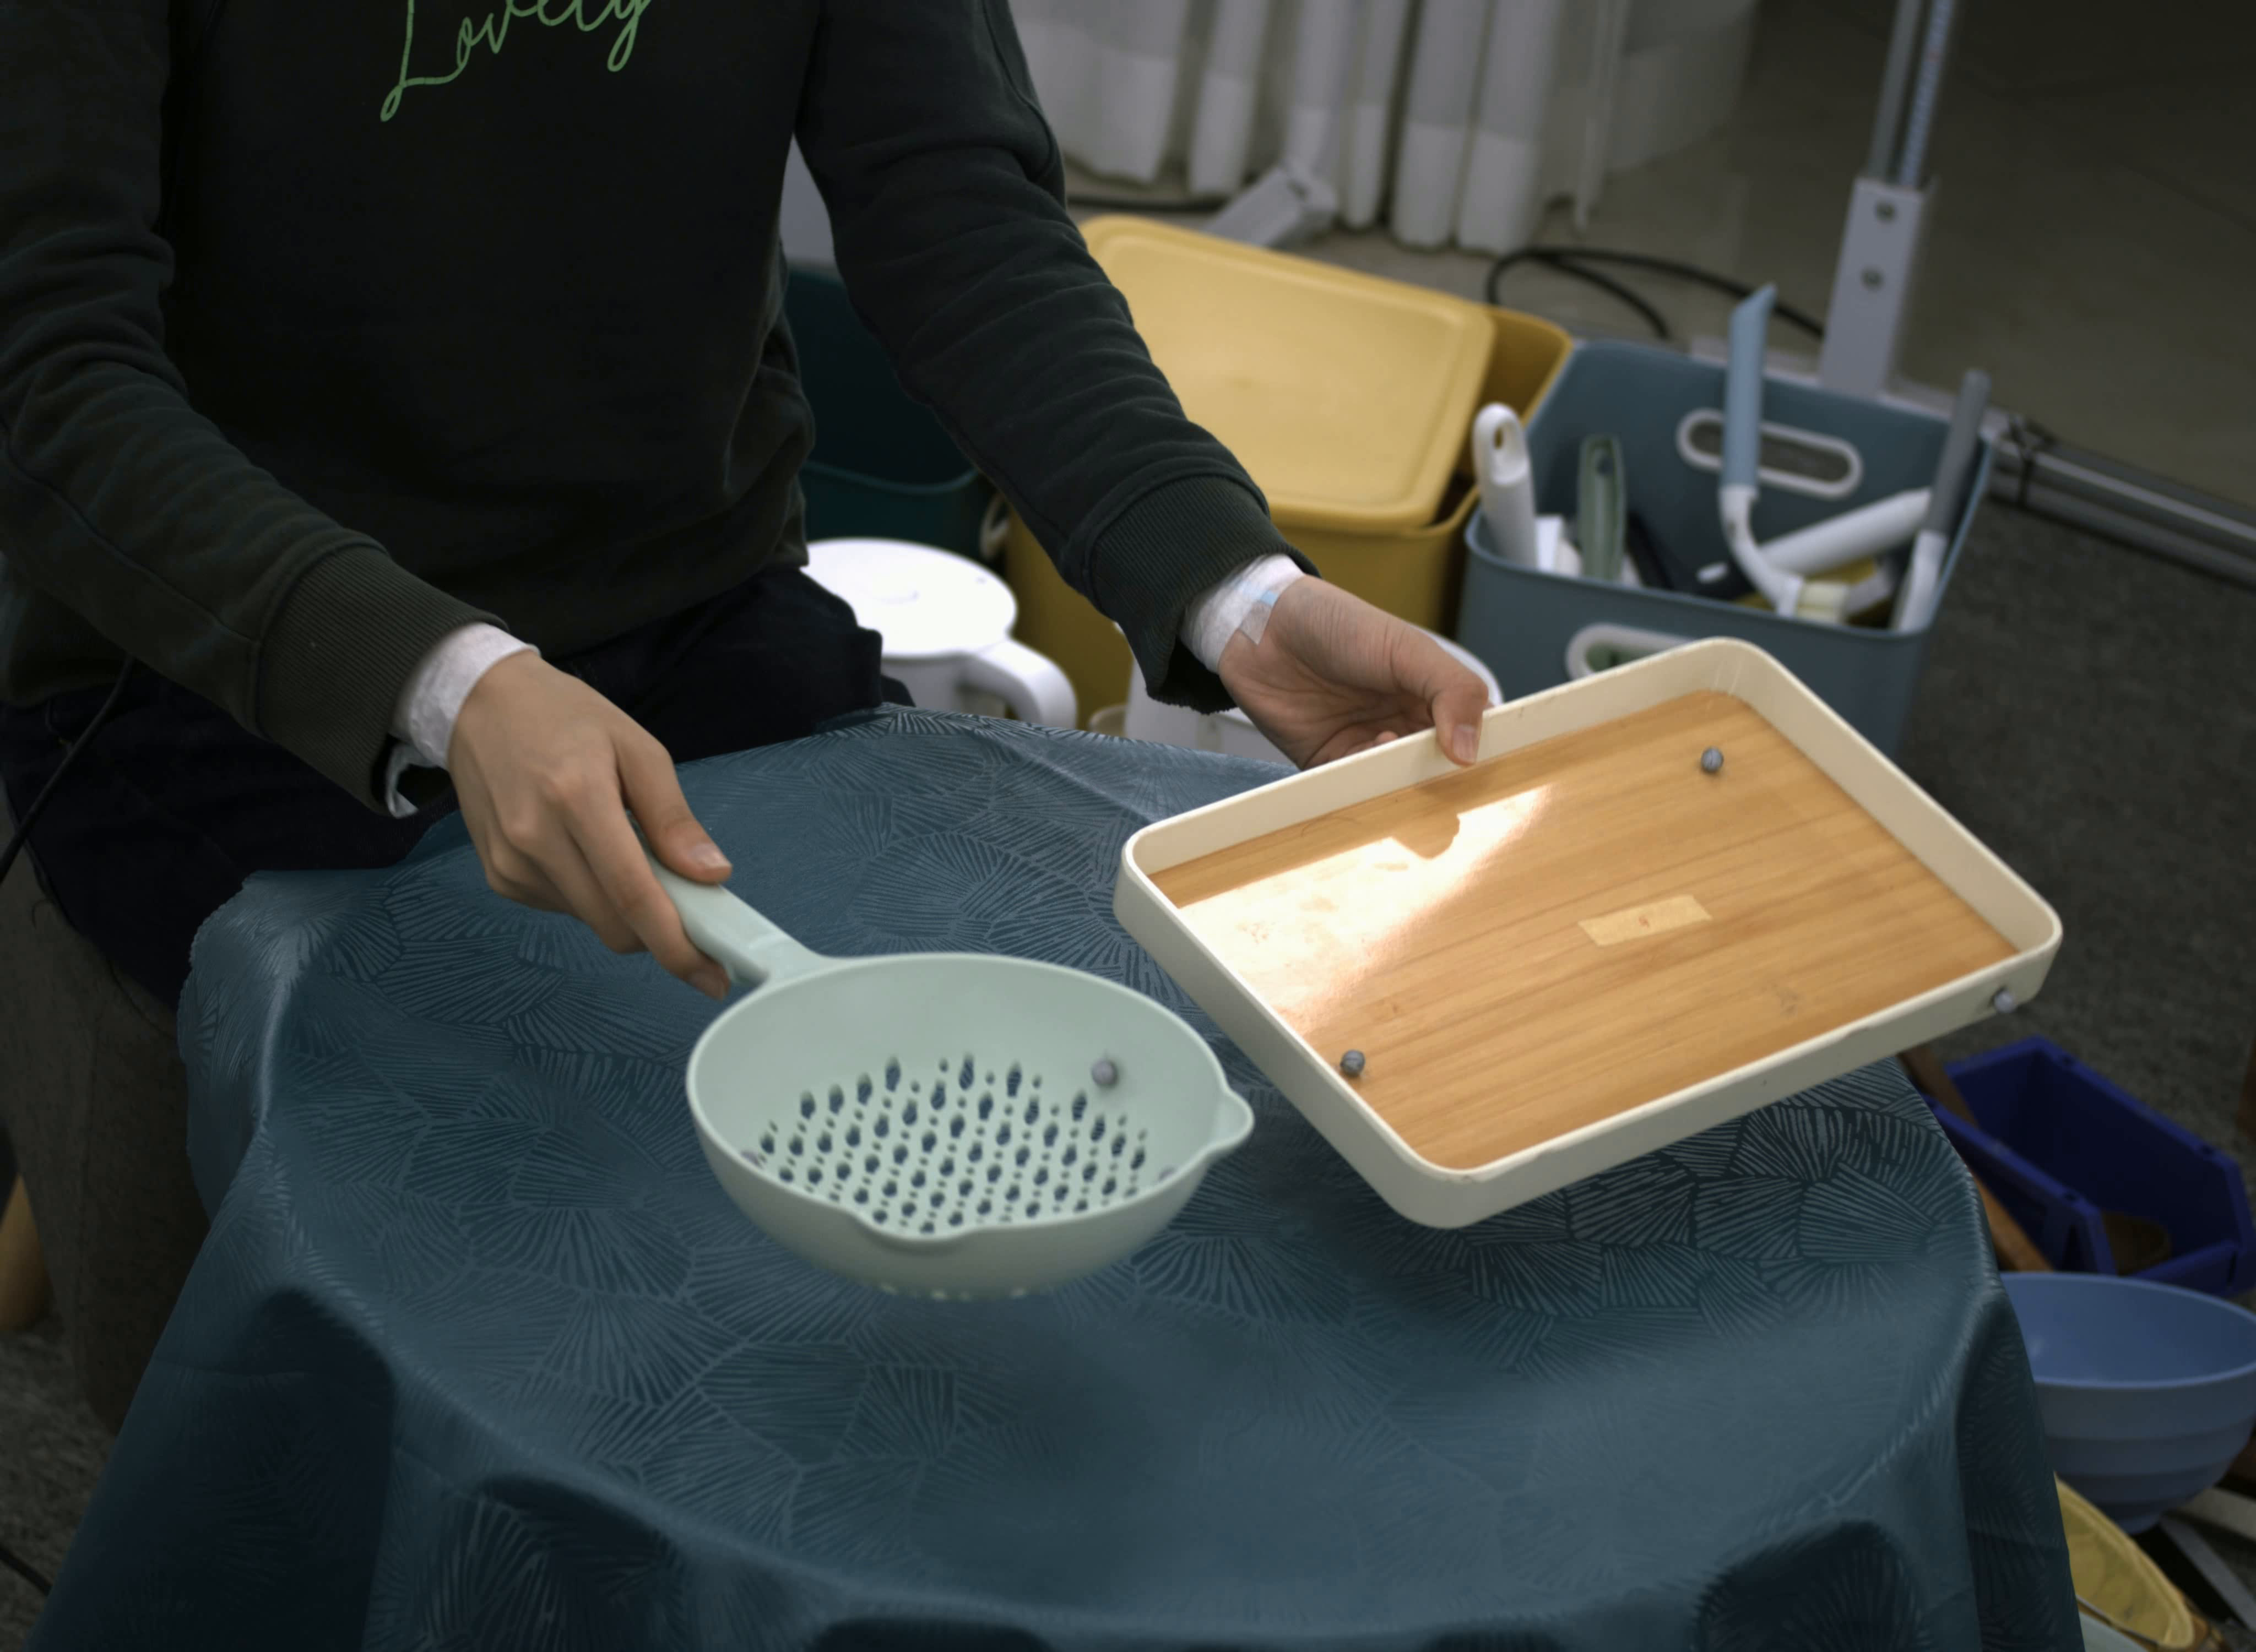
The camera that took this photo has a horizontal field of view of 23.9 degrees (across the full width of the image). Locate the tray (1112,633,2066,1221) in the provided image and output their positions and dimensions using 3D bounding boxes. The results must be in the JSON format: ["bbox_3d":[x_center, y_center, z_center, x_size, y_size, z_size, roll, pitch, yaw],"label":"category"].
[{"bbox_3d":[0.161,0.029,1.846,0.299,0.027,0.193,-18,47,-33],"label":"tray"}]

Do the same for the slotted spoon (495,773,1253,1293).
[{"bbox_3d":[-0.111,0.050,1.726,0.168,0.075,0.362,-15,39,-33],"label":"slotted spoon"}]
